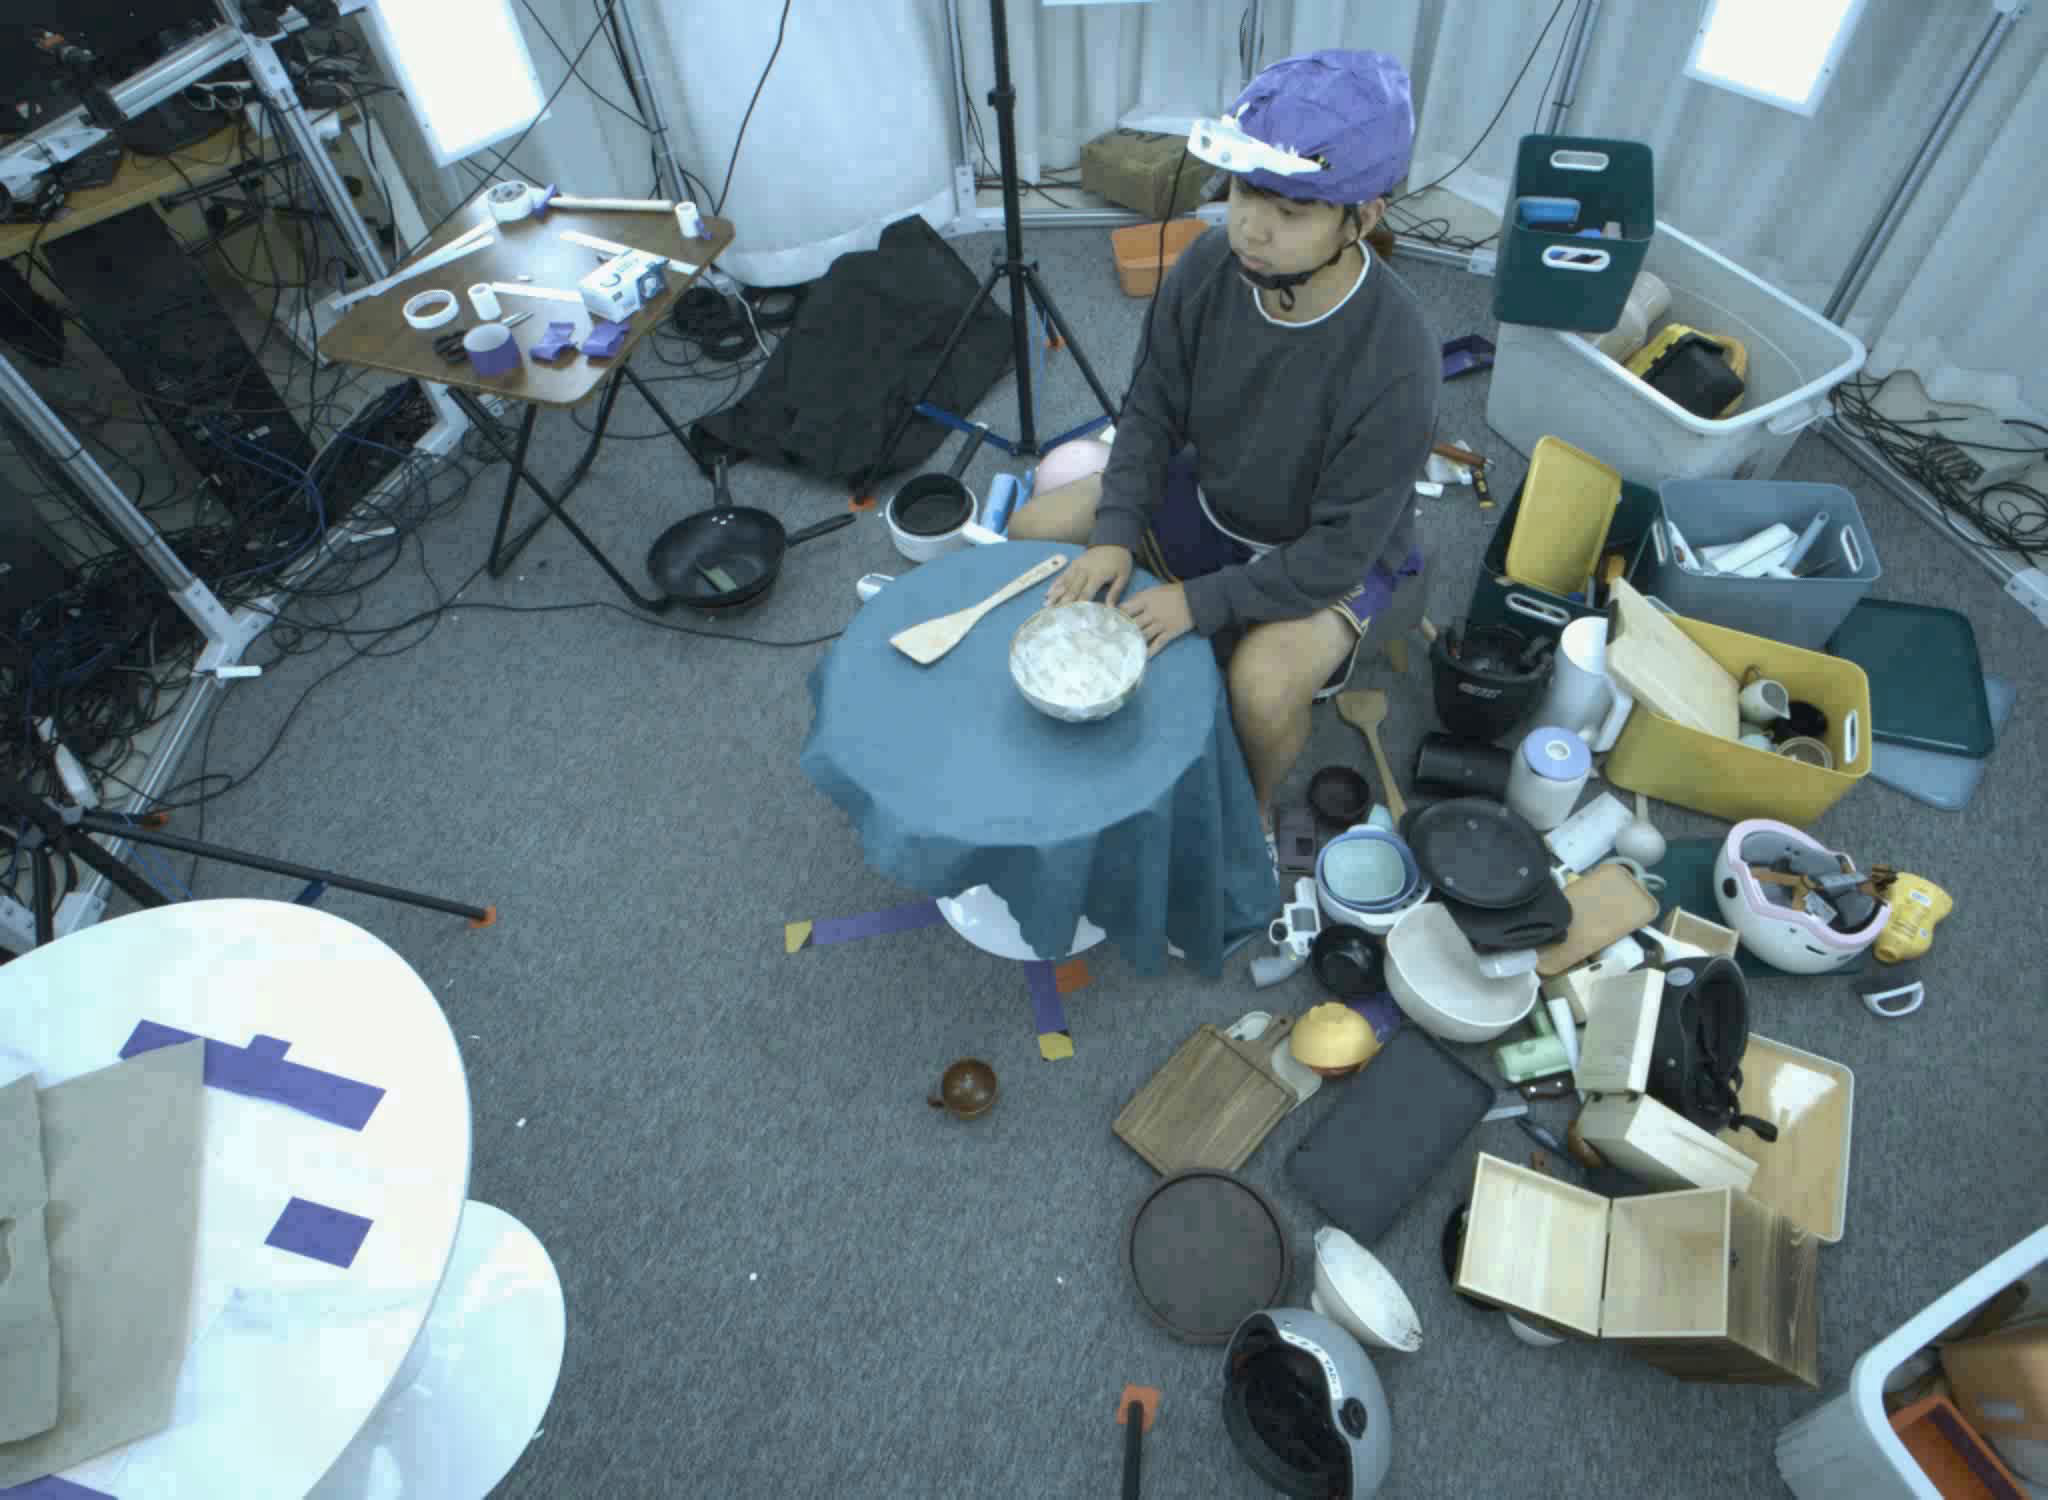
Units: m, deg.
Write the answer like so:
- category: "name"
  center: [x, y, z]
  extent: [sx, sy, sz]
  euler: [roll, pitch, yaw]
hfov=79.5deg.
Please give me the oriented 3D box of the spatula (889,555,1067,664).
- category: "spatula"
  center: [-0.061, -0.230, 1.946]
  extent: [0.330, 0.017, 0.078]
  euler: [-34, 60, -21]

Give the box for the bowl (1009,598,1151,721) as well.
- category: "bowl"
  center: [0.084, -0.119, 1.813]
  extent: [0.214, 0.095, 0.212]
  euler: [-1, 55, 3]
